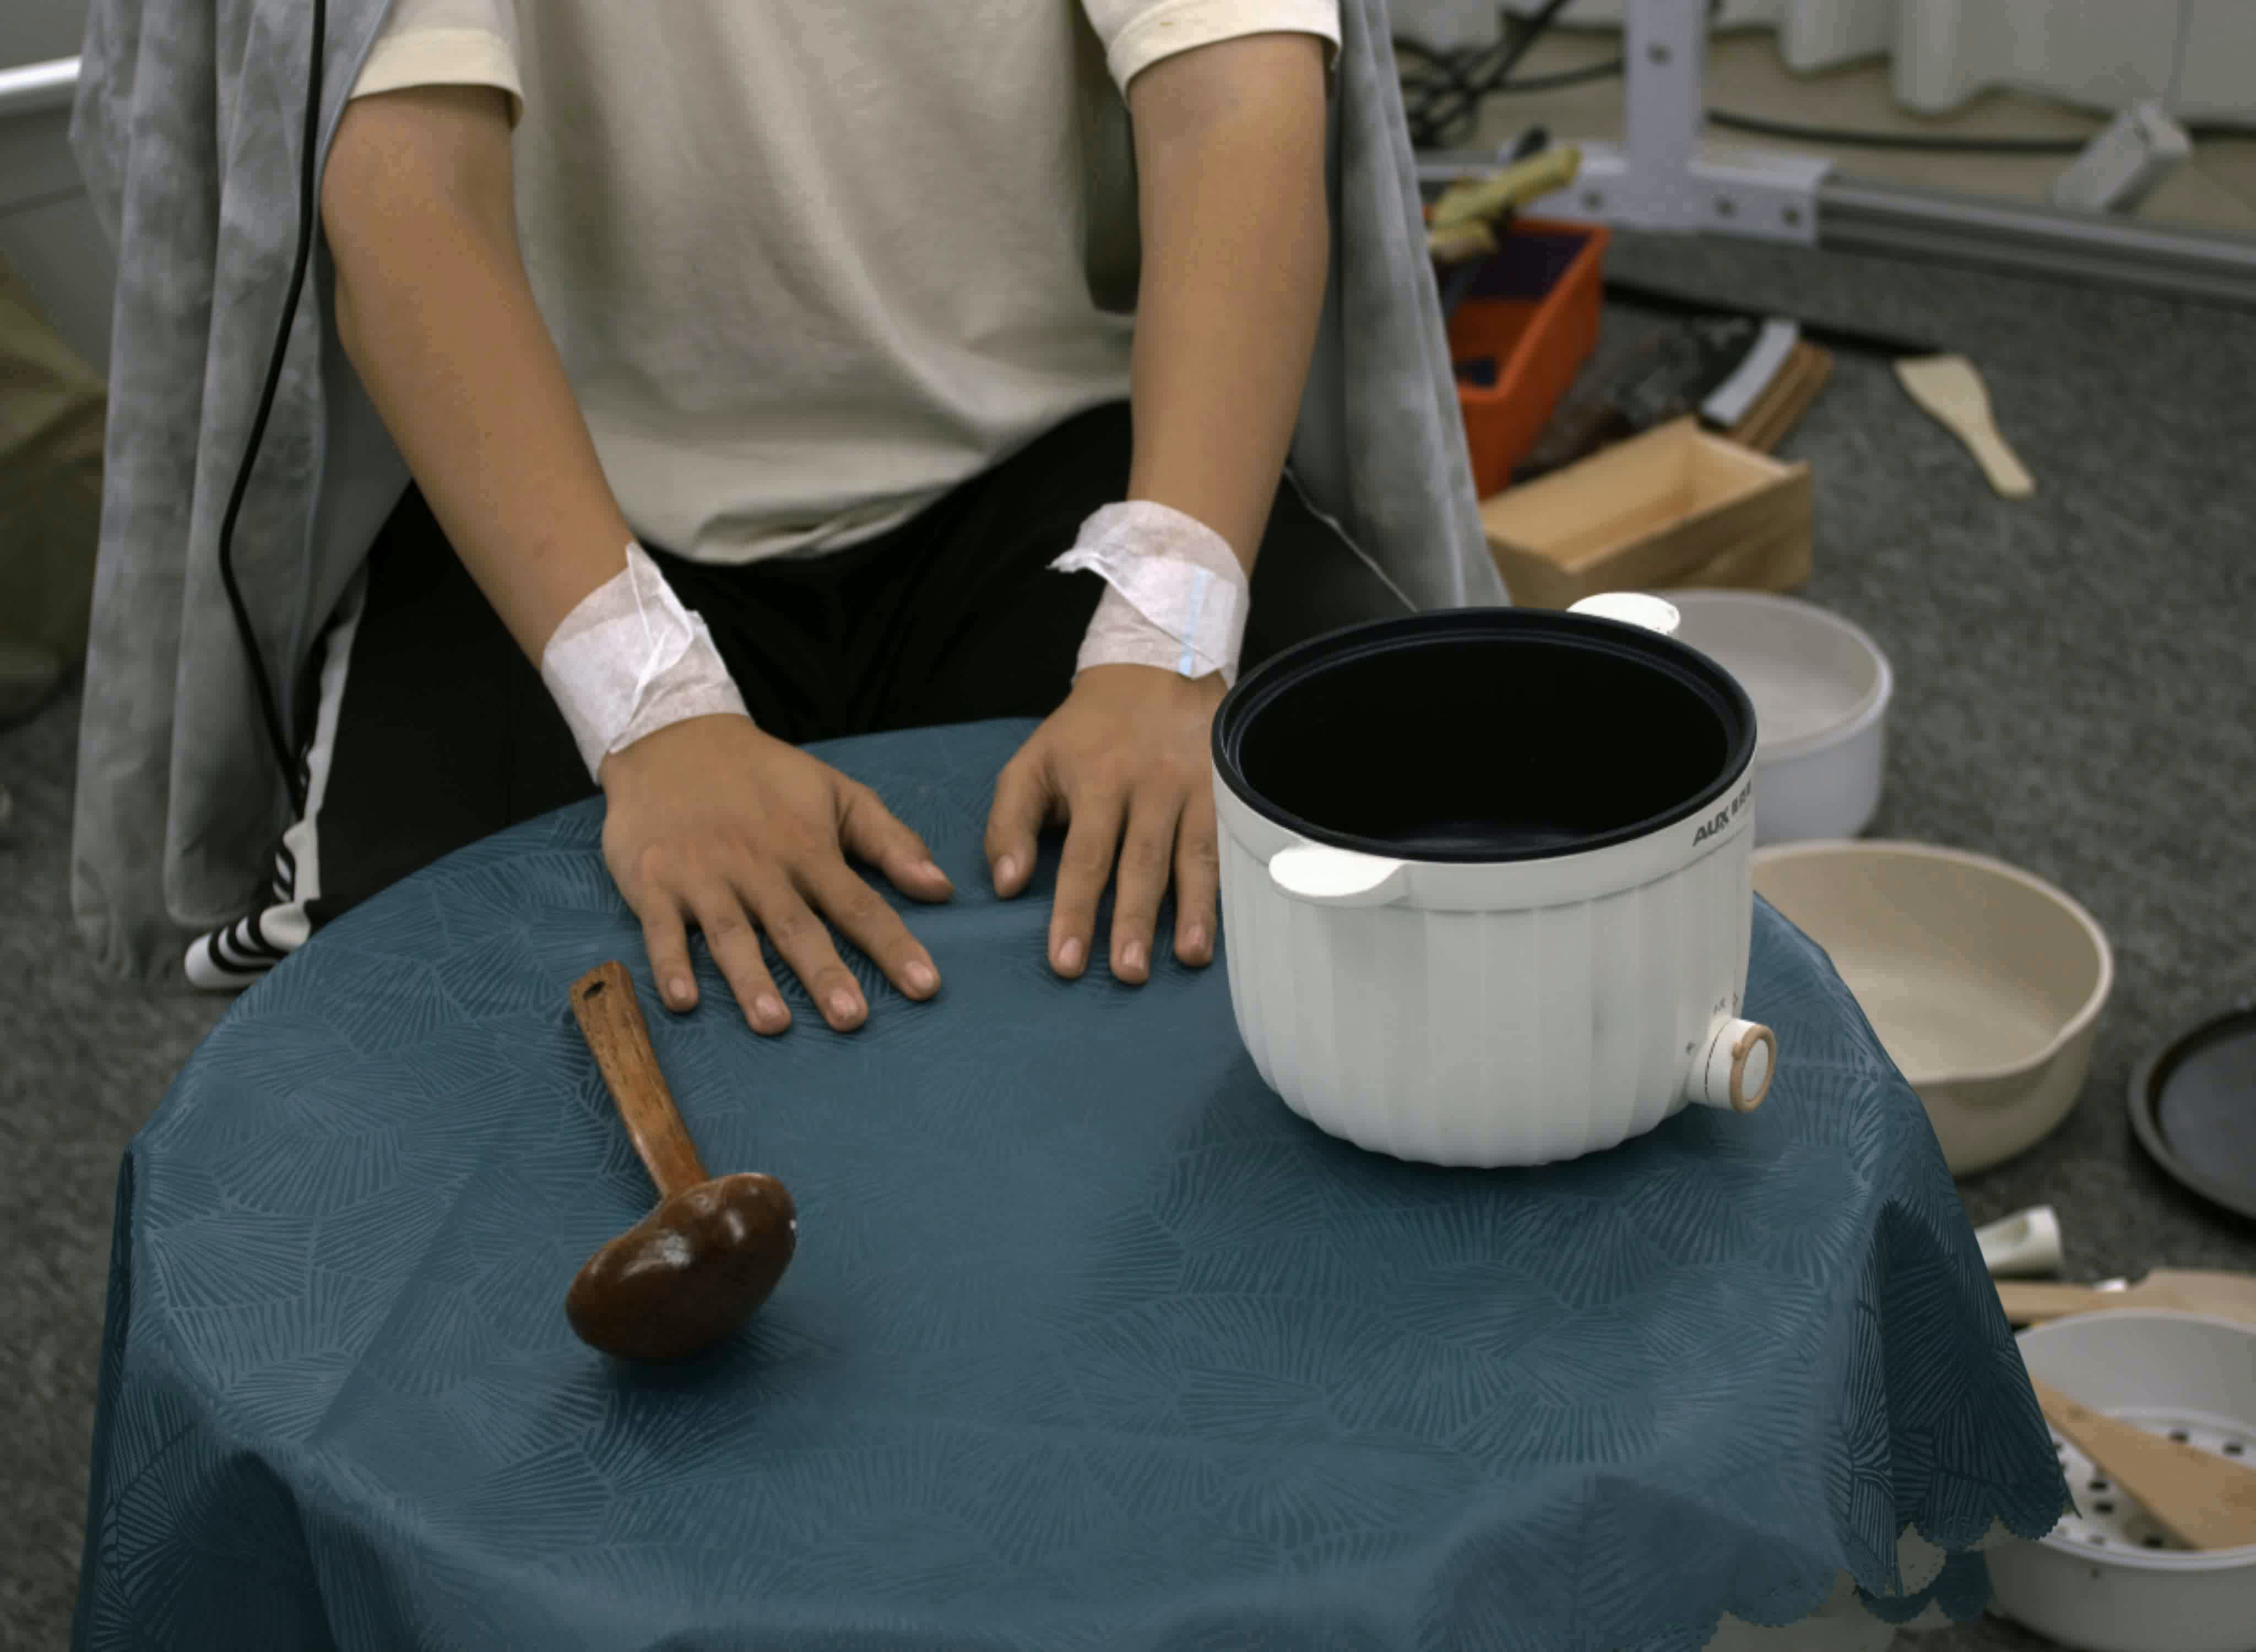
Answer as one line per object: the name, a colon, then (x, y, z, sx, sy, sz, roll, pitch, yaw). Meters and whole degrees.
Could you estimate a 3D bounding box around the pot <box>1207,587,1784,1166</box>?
pot: (0.126, 0.024, 1.885, 0.189, 0.141, 0.244, 9, 30, 31)

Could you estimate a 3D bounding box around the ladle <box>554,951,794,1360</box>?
ladle: (-0.166, 0.091, 1.854, 0.082, 0.076, 0.277, -30, 30, 1)
